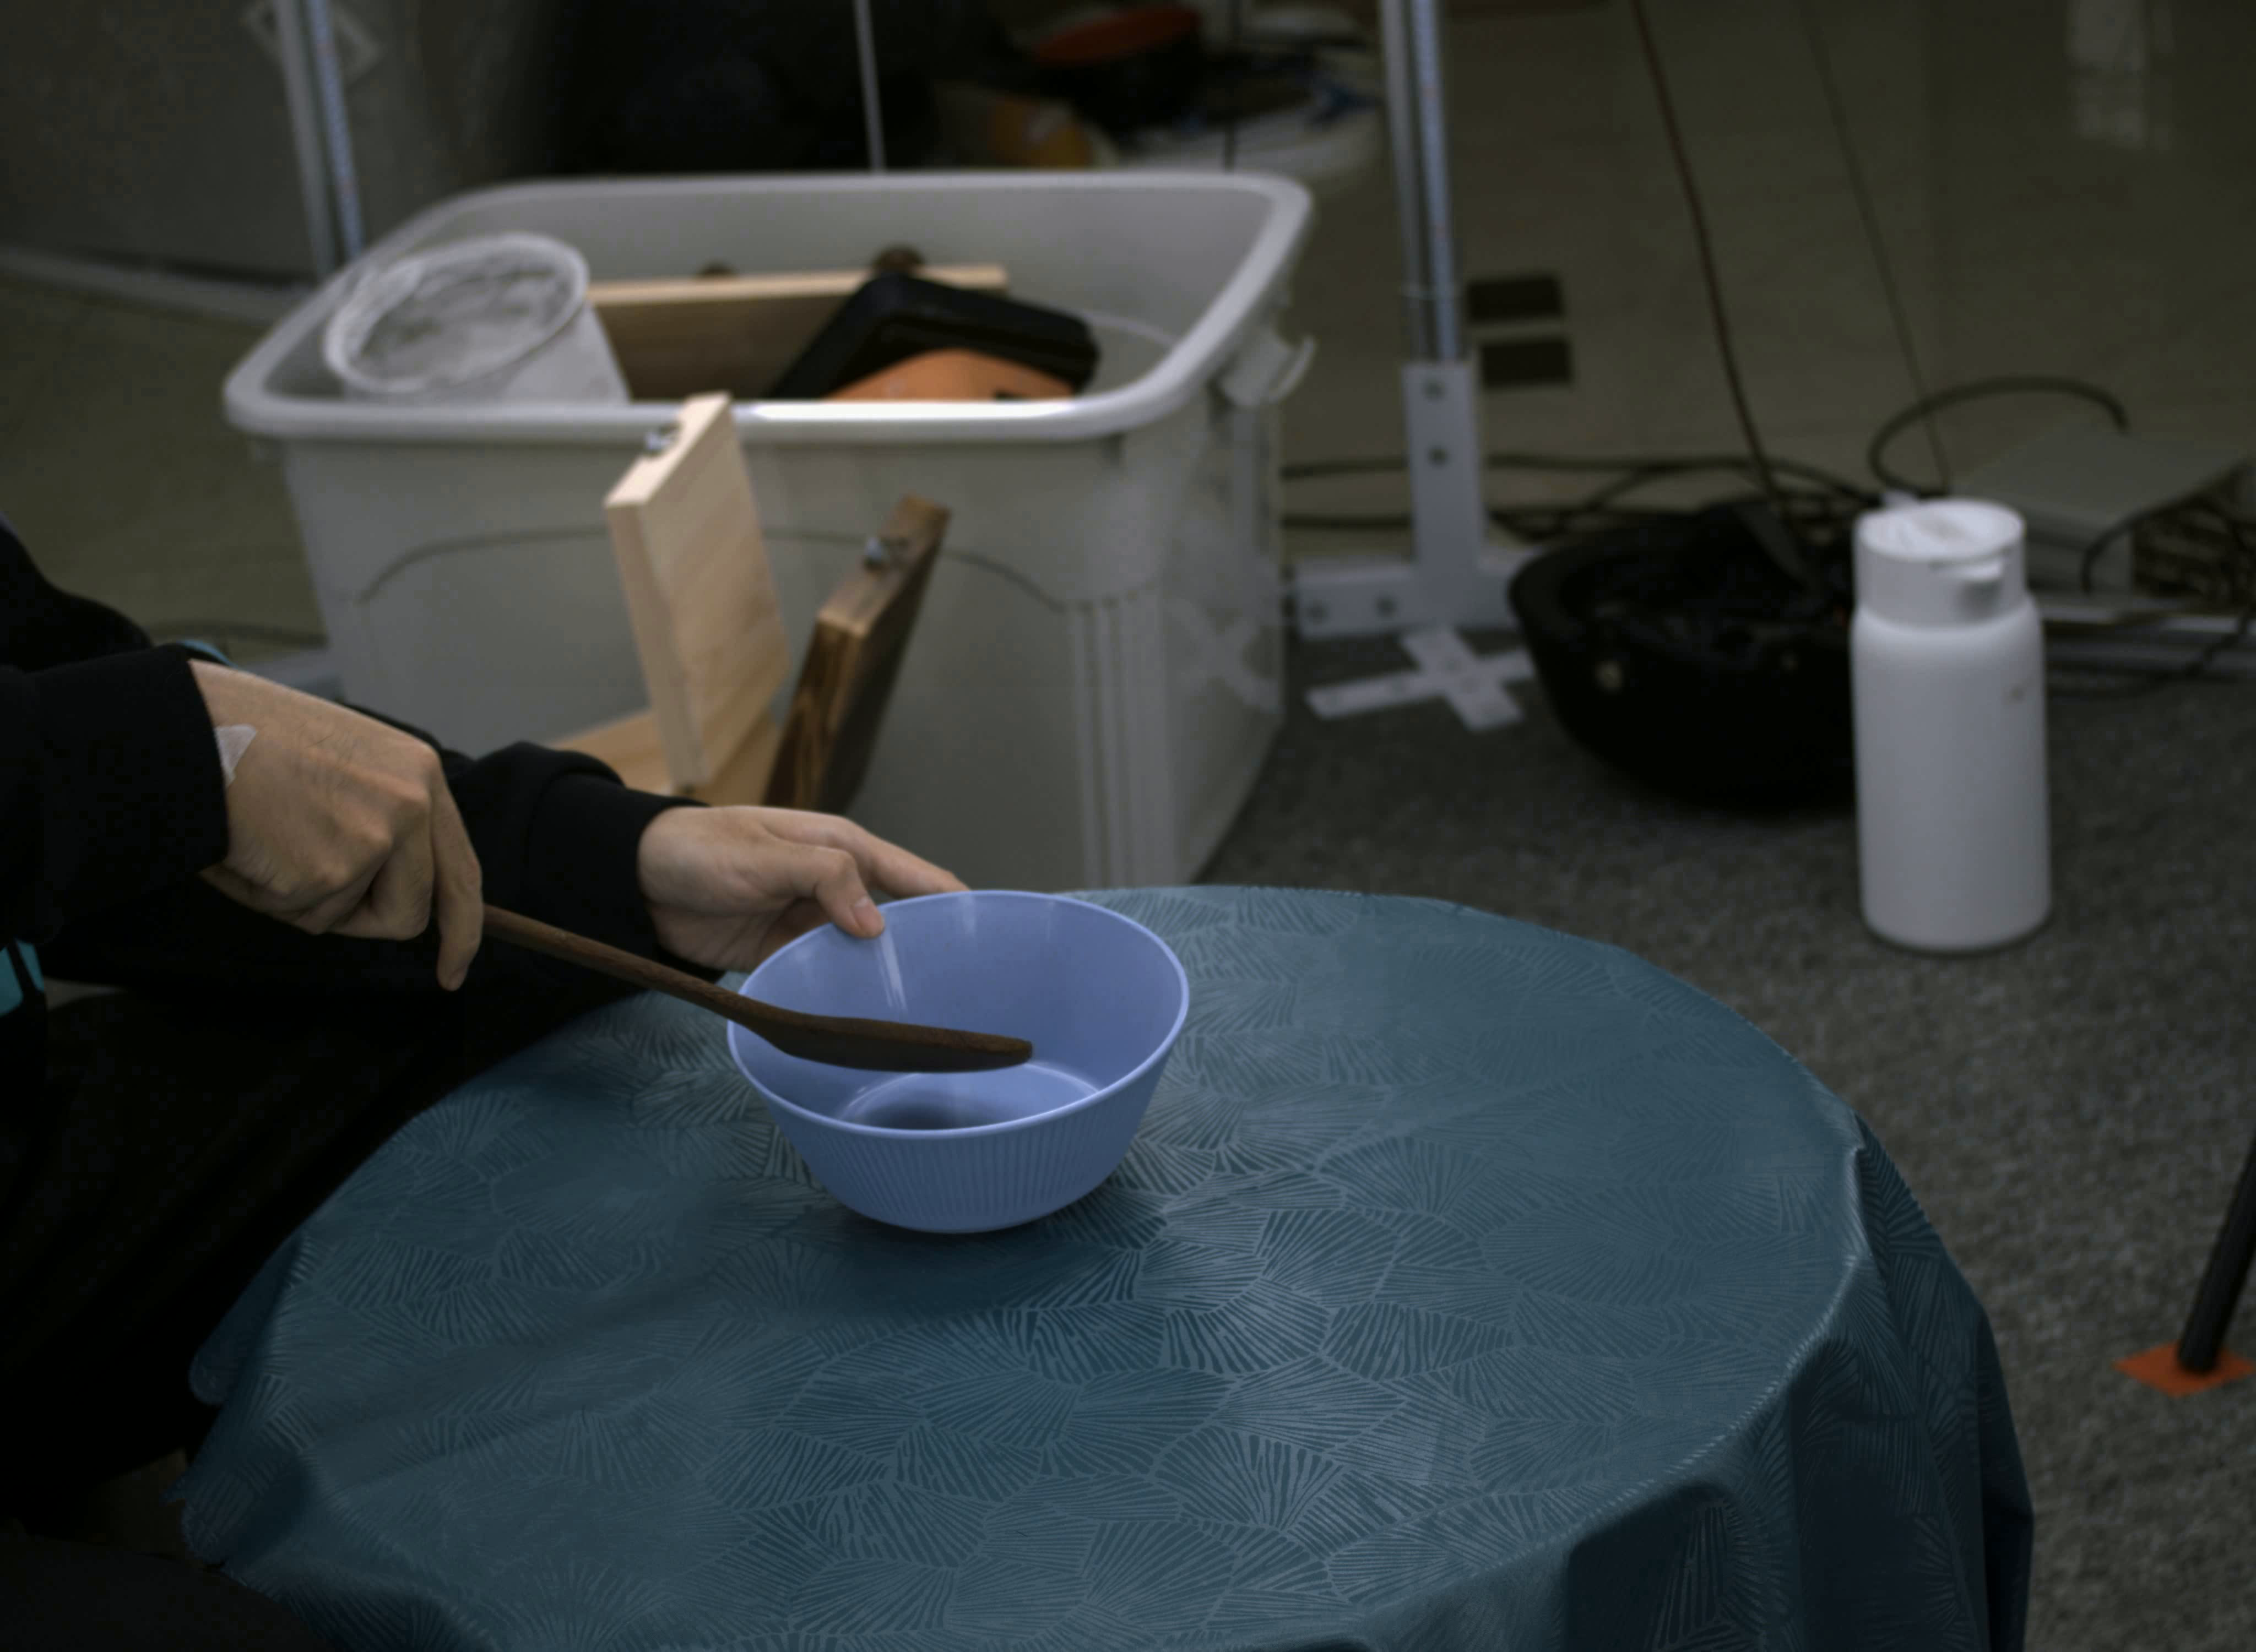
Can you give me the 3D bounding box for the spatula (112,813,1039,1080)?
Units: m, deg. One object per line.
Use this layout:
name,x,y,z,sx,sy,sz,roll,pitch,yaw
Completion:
spatula,-0.198,0.046,2.050,0.388,0.015,0.096,19,-17,-37

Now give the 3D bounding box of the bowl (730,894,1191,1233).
bowl,-0.060,0.097,2.154,0.176,0.071,0.173,-5,29,3
